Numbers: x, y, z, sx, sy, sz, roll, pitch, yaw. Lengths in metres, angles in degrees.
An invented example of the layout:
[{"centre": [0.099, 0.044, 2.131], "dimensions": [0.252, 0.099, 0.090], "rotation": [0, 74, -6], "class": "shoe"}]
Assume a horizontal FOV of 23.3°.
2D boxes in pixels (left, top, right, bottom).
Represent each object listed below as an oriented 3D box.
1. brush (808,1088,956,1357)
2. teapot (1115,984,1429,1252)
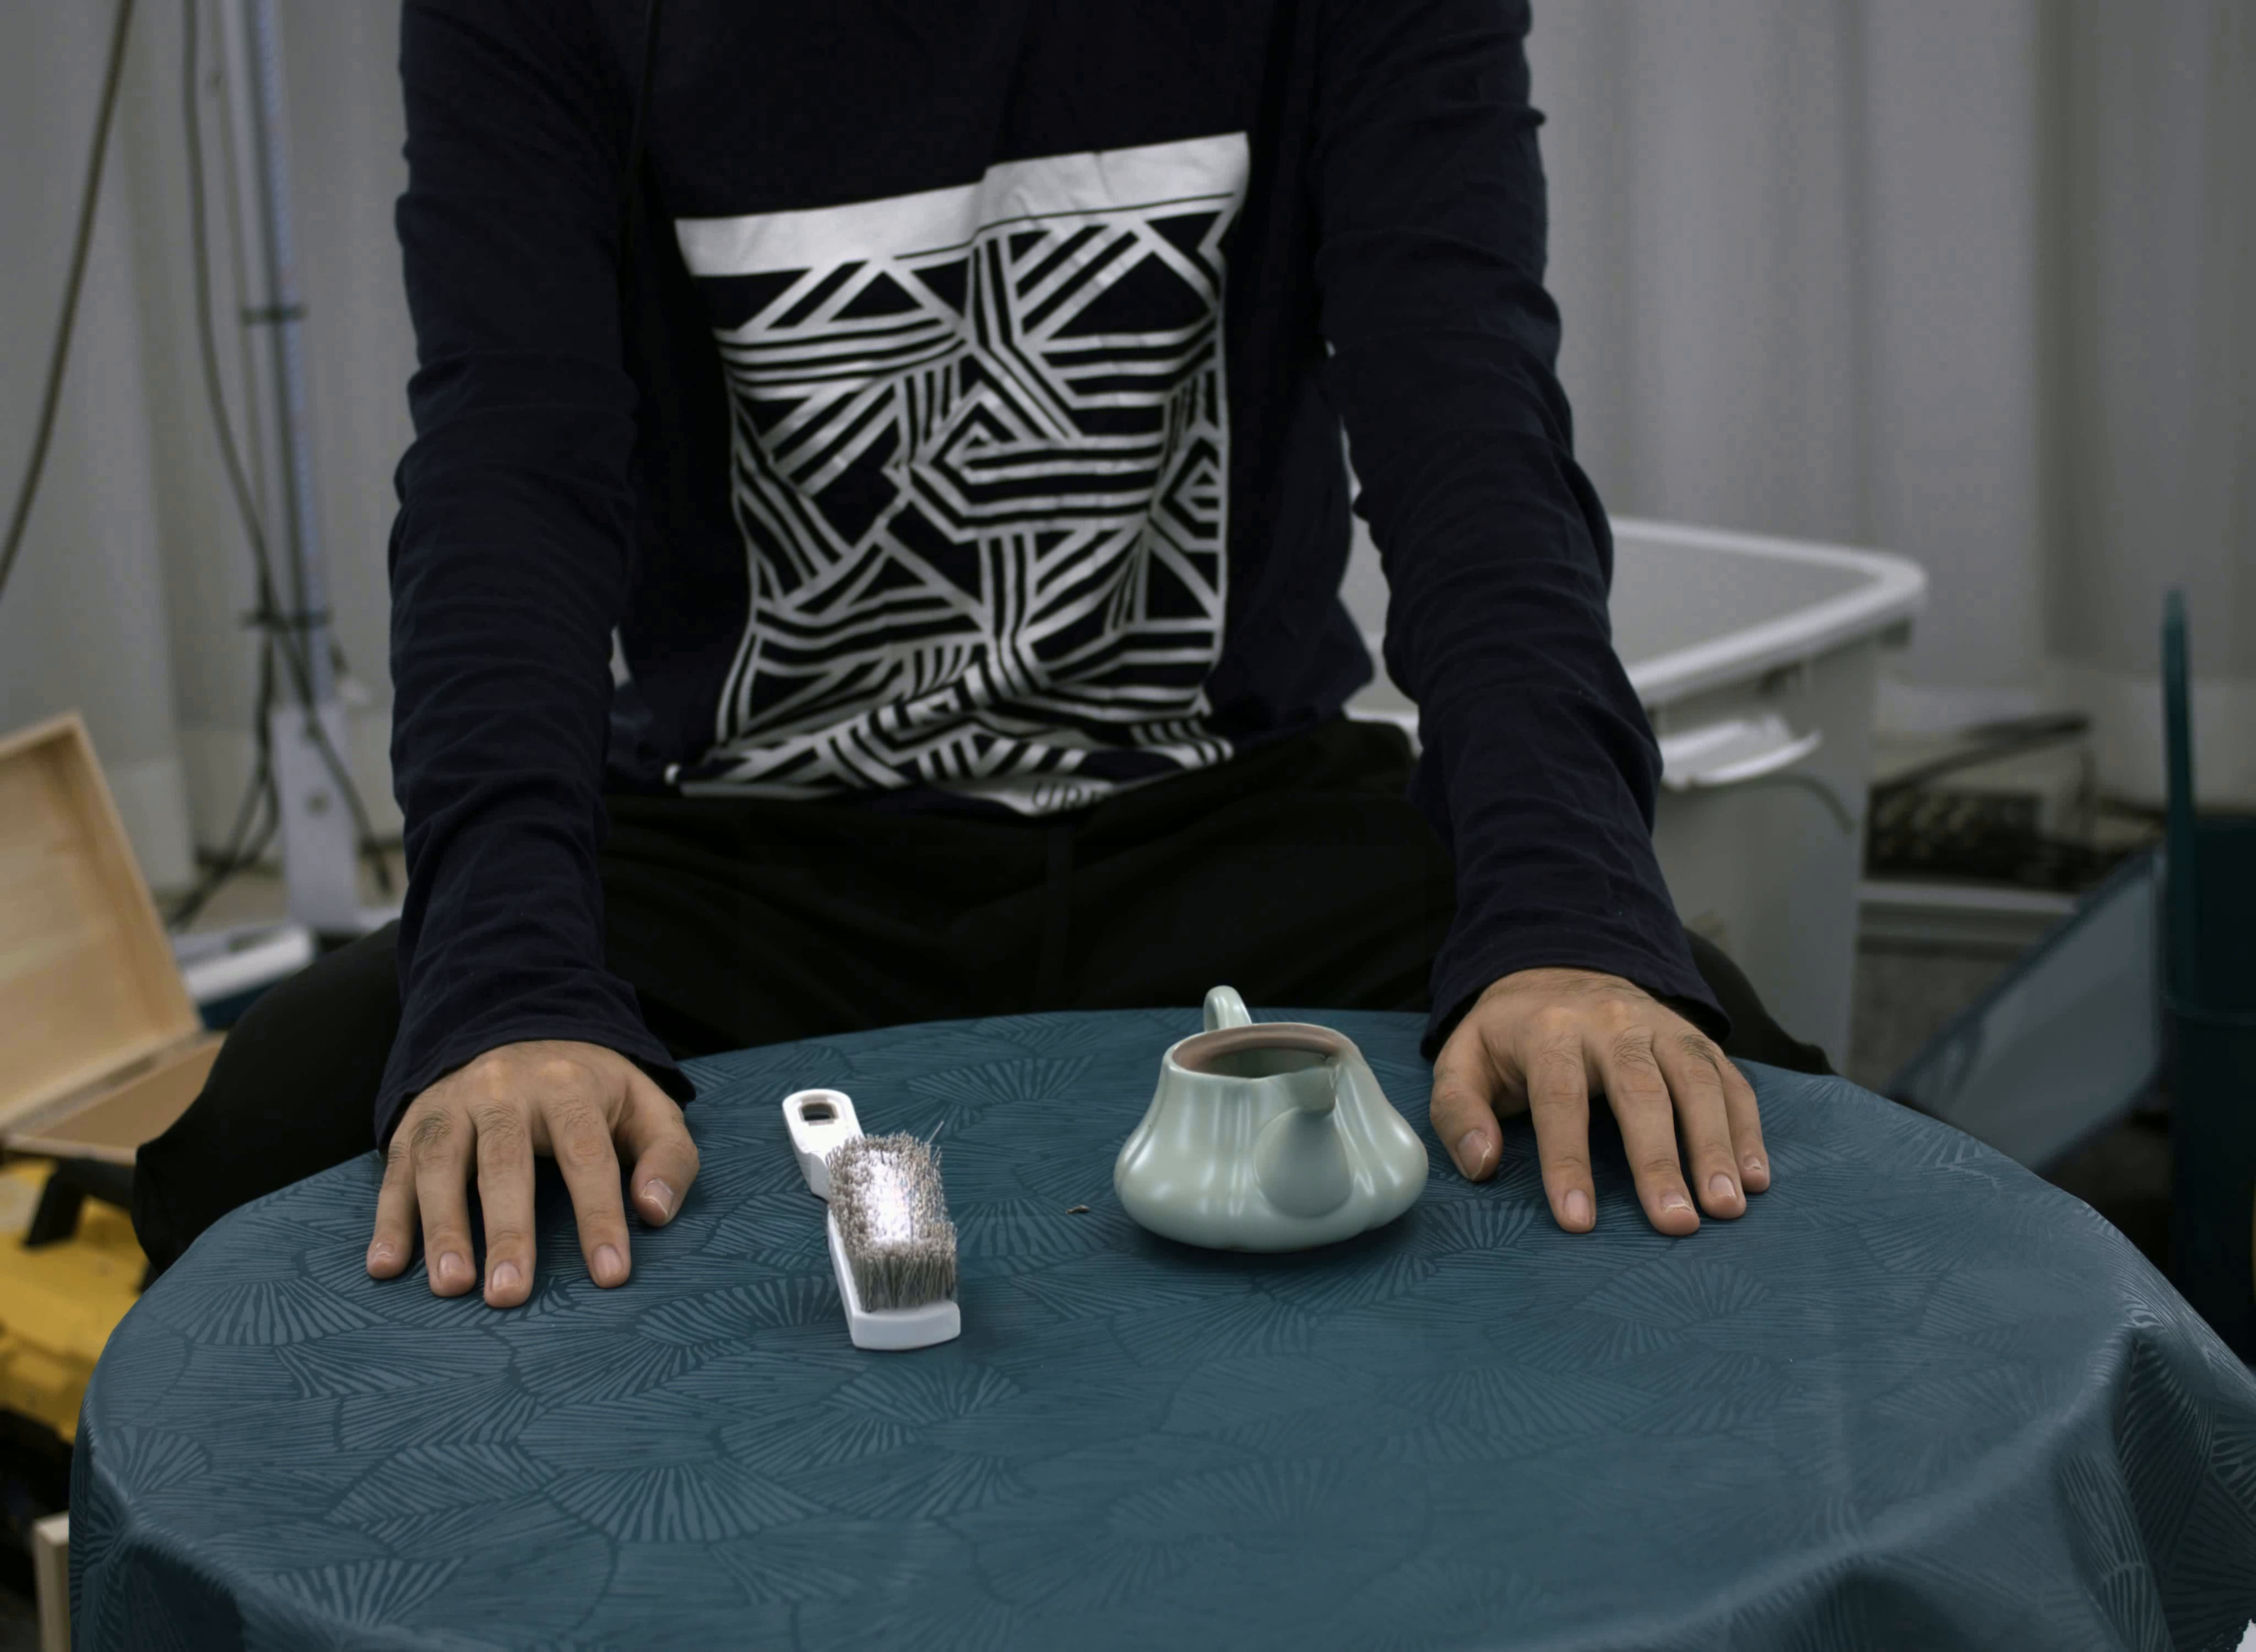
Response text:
[{"centre": [-0.081, 0.102, 1.687], "dimensions": [0.034, 0.050, 0.245], "rotation": [-9, 16, -5], "class": "brush"}, {"centre": [0.042, 0.092, 1.675], "dimensions": [0.096, 0.061, 0.138], "rotation": [-9, 17, -13], "class": "teapot"}]
